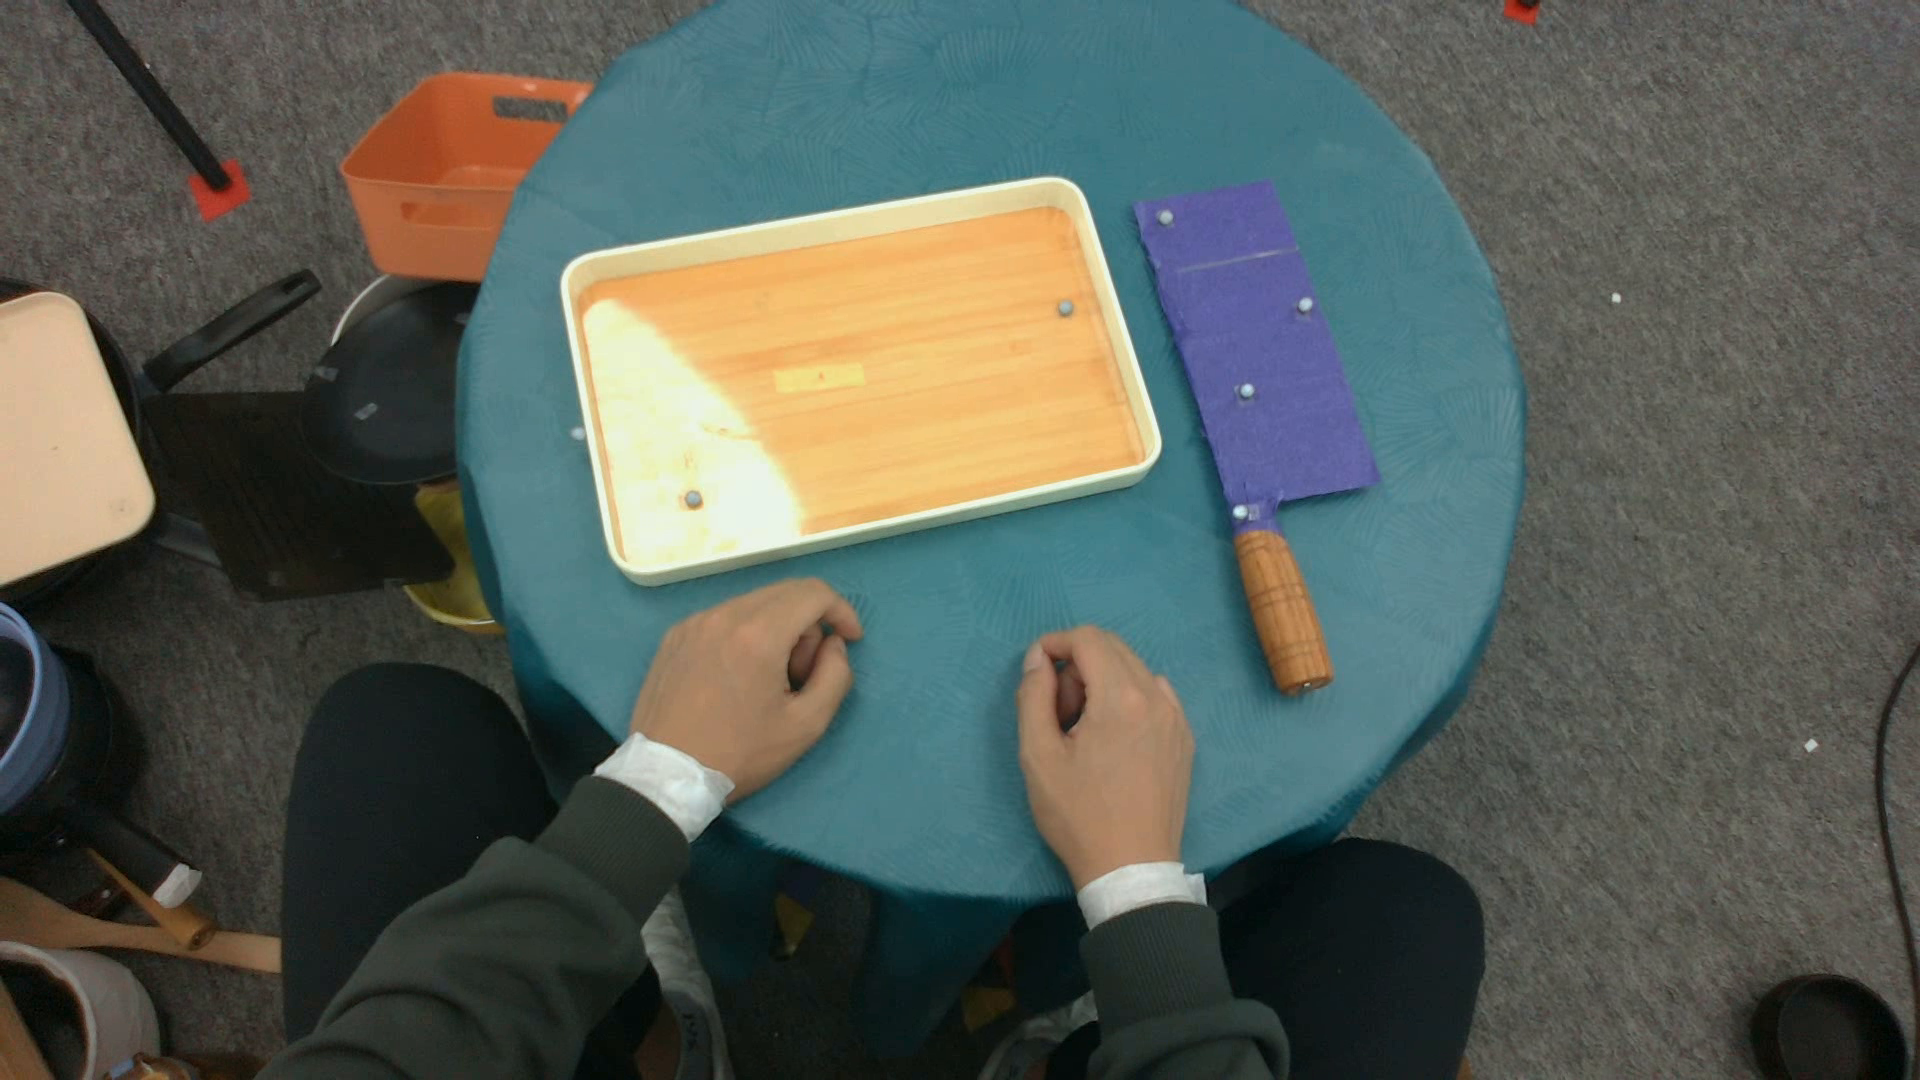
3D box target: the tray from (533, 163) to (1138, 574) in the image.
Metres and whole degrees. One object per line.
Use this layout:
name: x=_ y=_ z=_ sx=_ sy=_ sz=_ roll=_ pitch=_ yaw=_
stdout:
tray: x=-0.068 y=-0.100 z=0.757 sx=0.300 sy=0.027 sz=0.192 roll=-12 pitch=72 yaw=-10

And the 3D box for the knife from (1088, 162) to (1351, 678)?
knife: x=0.164 y=-0.082 z=0.775 sx=0.104 sy=0.032 sz=0.316 roll=-12 pitch=71 yaw=-9
